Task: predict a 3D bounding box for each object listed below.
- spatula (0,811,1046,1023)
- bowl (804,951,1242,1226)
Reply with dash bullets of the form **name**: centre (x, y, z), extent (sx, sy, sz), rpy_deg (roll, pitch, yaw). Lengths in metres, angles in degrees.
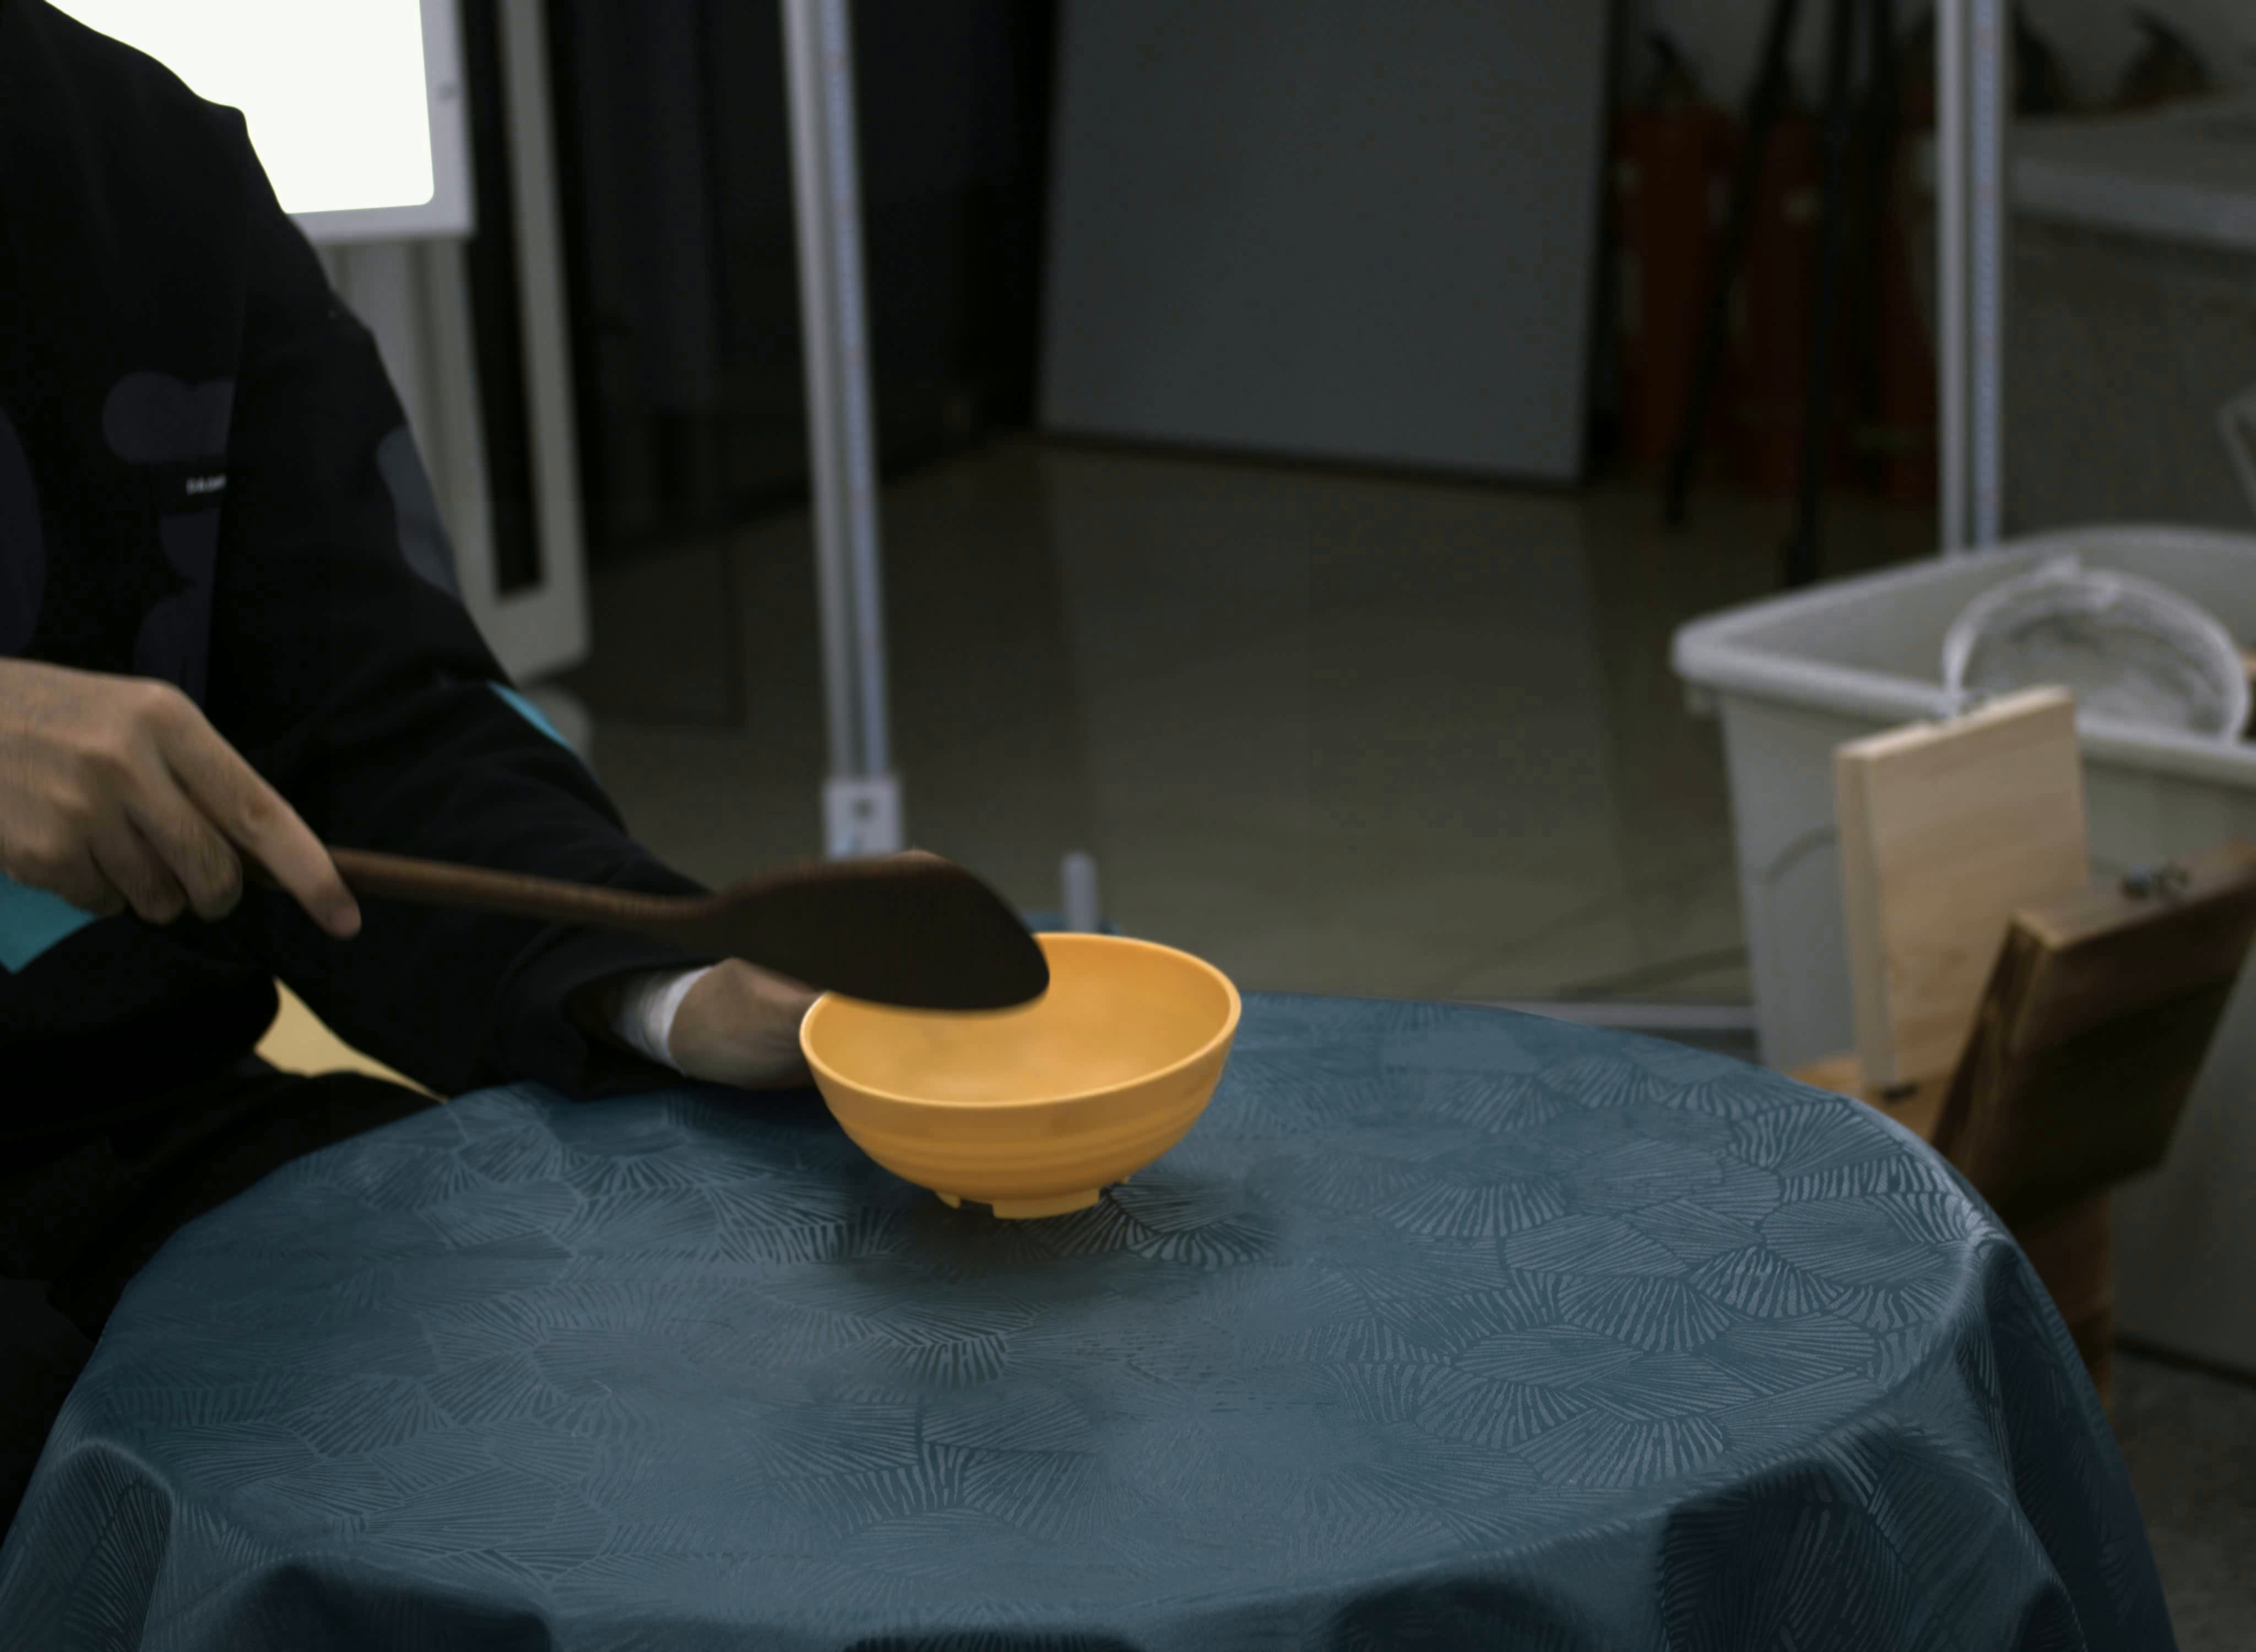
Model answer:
- **spatula**: centre (-0.206, 0.021, 1.671), extent (0.386, 0.016, 0.095), rpy_deg (6, -27, 23)
- **bowl**: centre (-0.034, 0.091, 1.754), extent (0.143, 0.061, 0.145), rpy_deg (-2, 17, 0)
